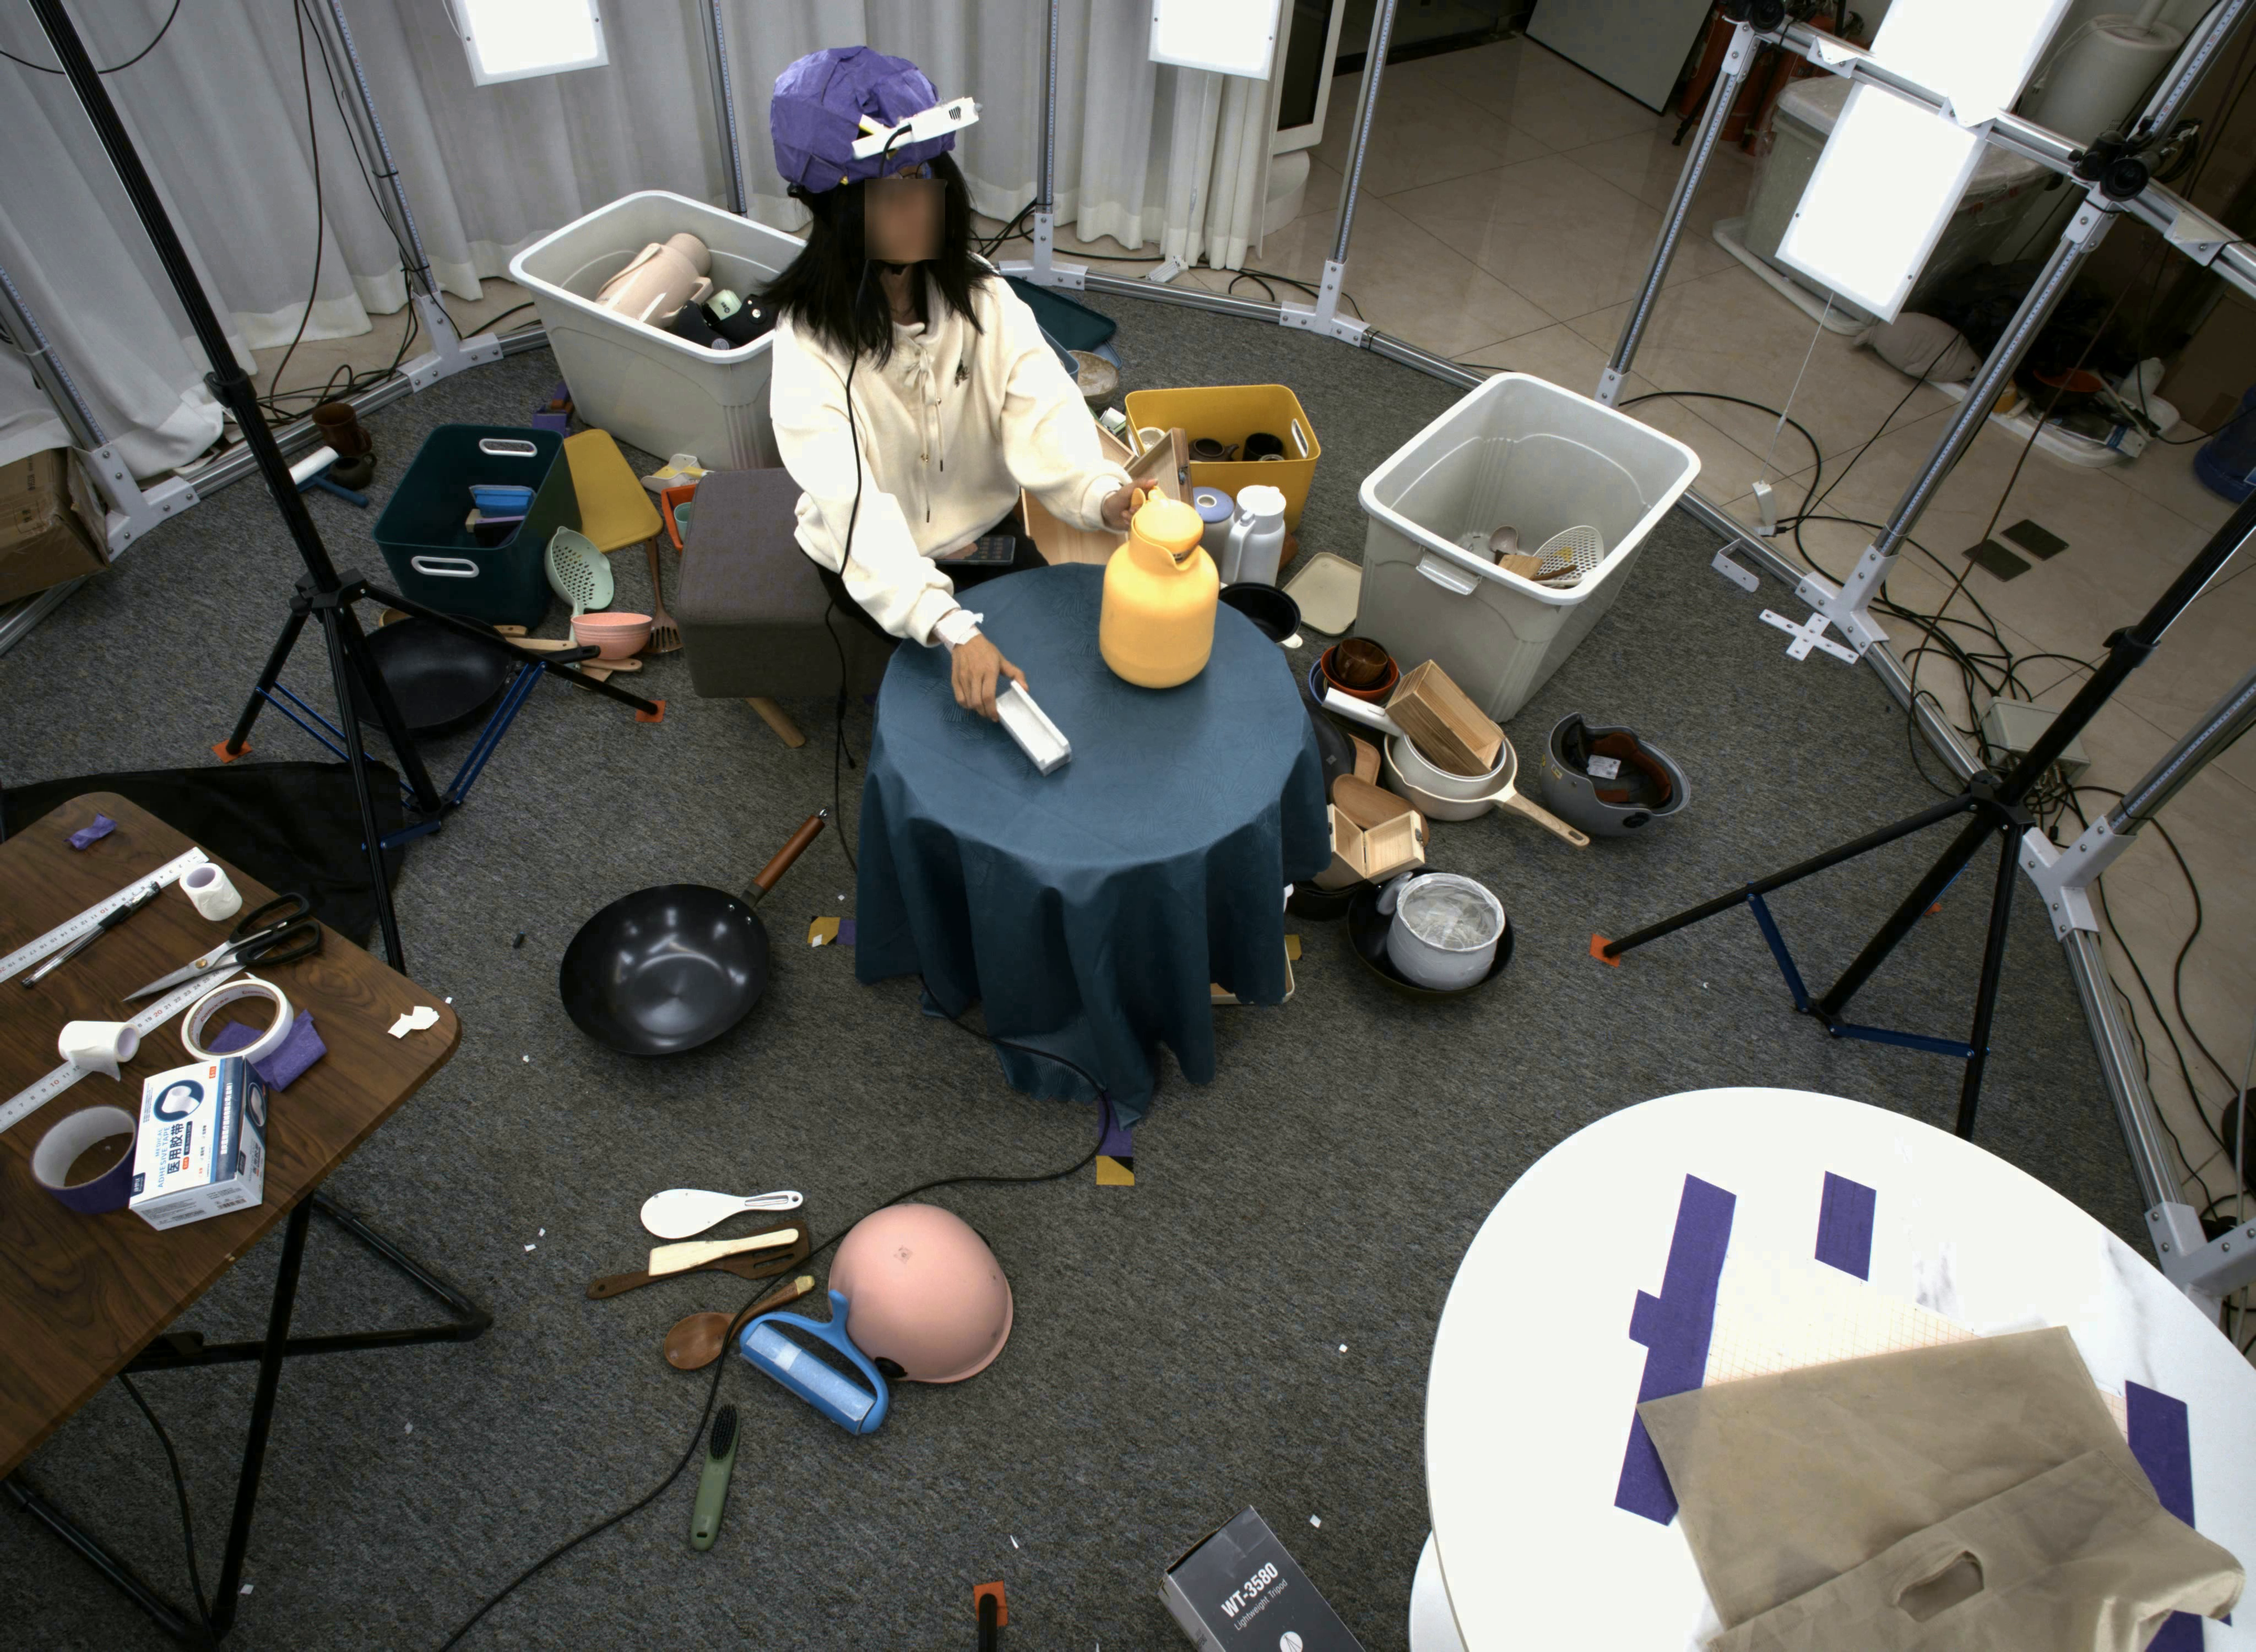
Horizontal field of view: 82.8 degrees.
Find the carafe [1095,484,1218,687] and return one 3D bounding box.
[{"bbox_3d":[0.040,-0.343,1.799,0.163,0.254,0.207,-6,52,-14],"label":"carafe"}]

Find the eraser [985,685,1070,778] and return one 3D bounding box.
[{"bbox_3d":[-0.136,-0.128,1.739,0.050,0.045,0.137,-35,59,-13],"label":"eraser"}]
